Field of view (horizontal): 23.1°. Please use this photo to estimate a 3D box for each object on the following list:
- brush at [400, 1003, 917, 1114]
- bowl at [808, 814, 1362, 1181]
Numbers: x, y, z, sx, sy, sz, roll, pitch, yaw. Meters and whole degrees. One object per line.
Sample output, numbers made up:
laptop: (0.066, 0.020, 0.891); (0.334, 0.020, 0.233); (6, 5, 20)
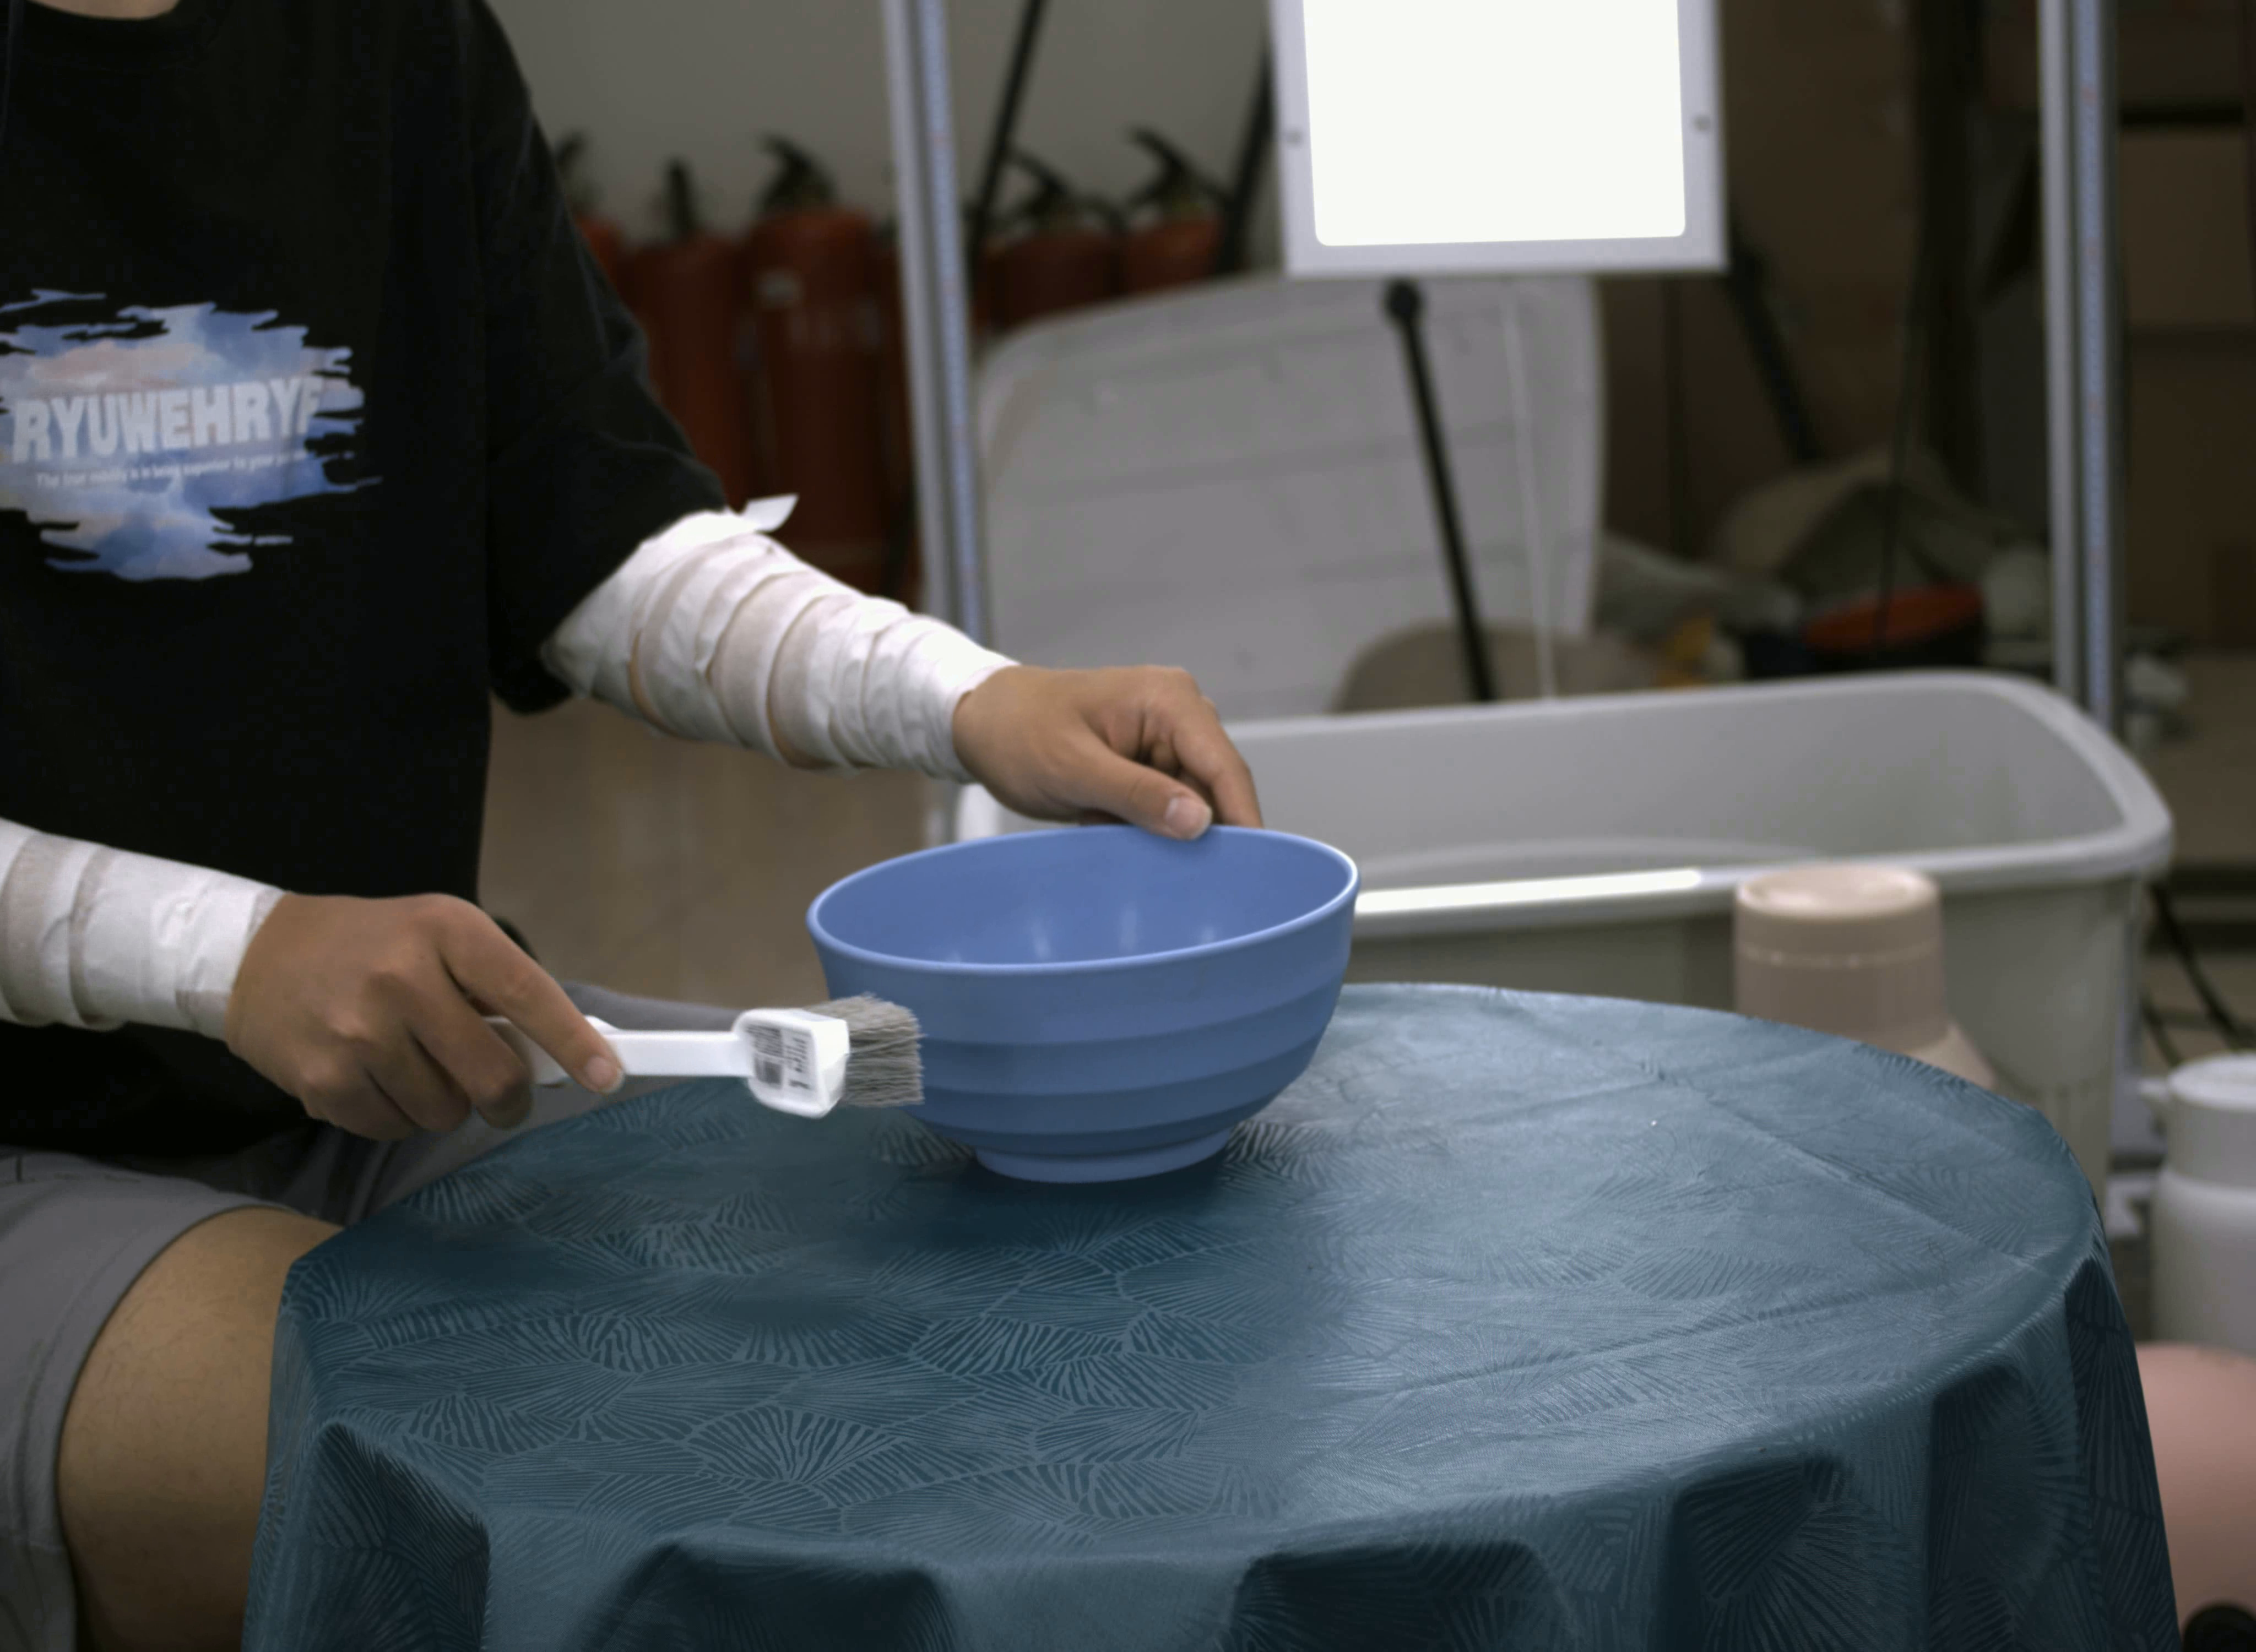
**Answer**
brush: (-0.158, 0.078, 1.866); (0.049, 0.034, 0.249); (-4, 1, -43)
bowl: (-0.012, 0.066, 1.946); (0.196, 0.096, 0.196); (-5, 15, 0)
